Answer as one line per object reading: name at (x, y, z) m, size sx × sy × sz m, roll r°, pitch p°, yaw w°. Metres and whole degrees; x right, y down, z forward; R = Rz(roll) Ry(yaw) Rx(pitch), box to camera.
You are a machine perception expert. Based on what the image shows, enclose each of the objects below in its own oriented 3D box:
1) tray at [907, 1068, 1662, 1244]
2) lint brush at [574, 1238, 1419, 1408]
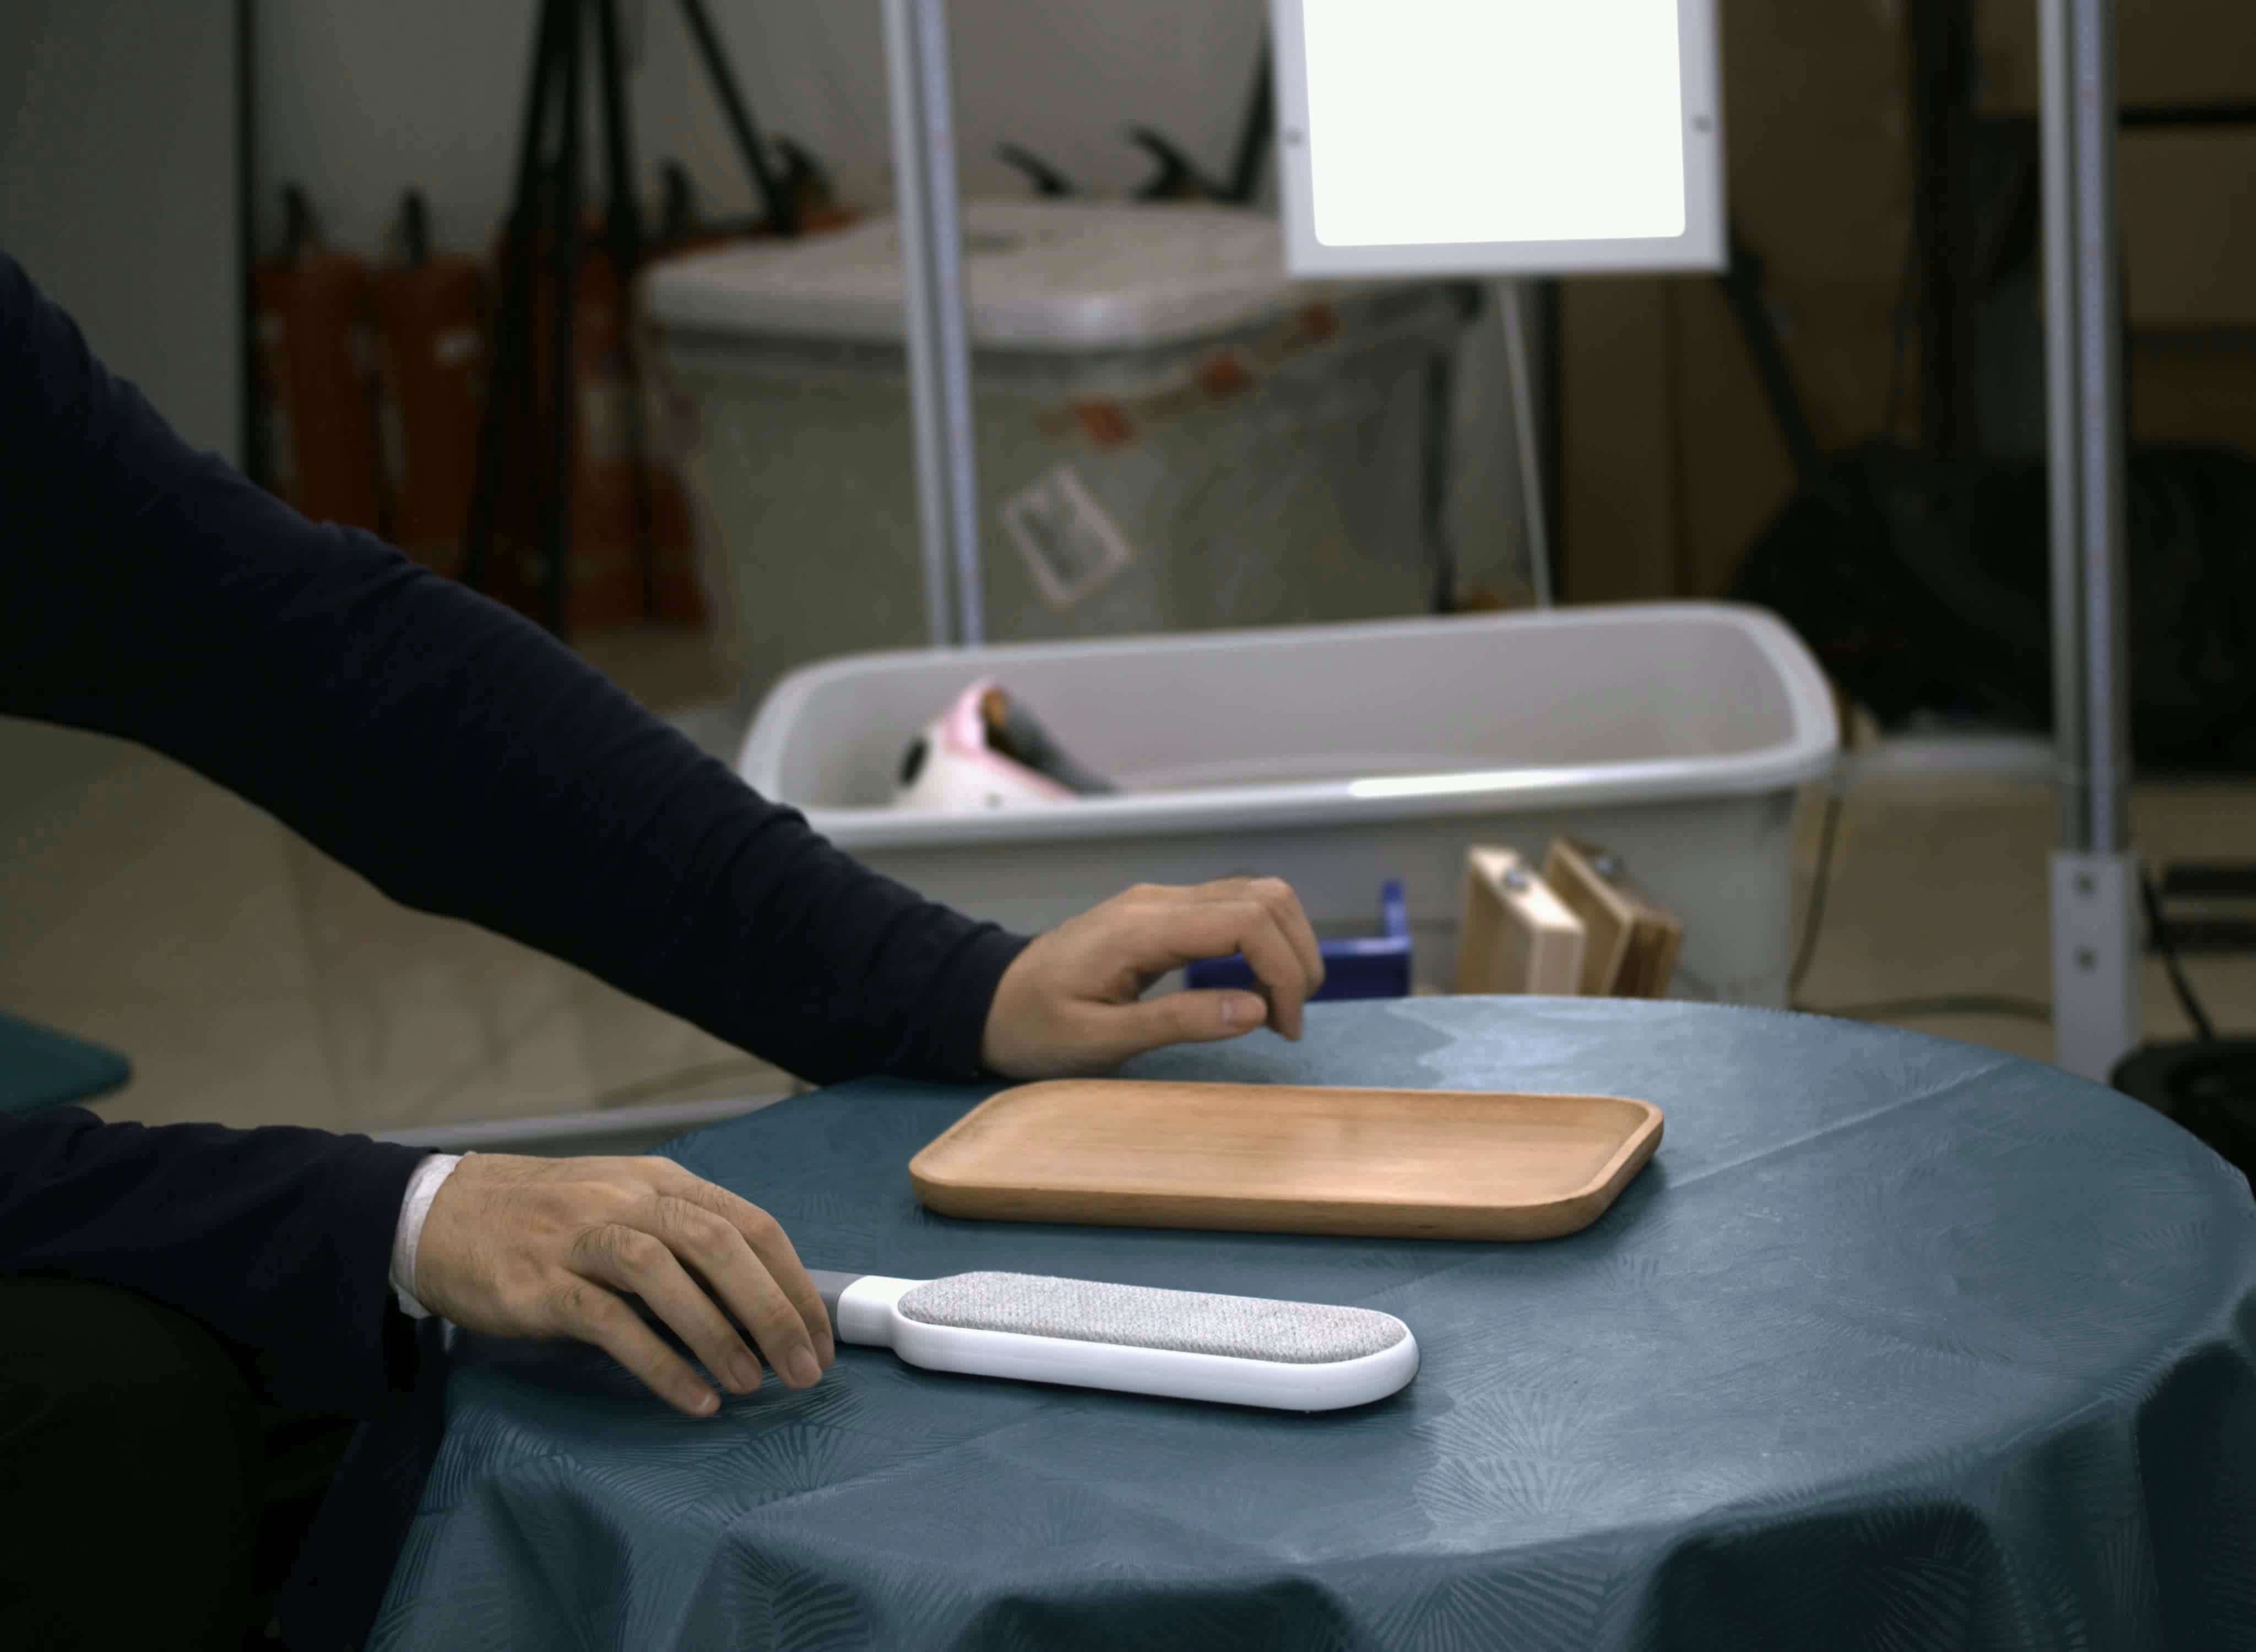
tray at (0.054, 0.113, 1.902) m, size 0.255 × 0.023 × 0.128 m, roll 1°, pitch 13°, yaw 25°
lint brush at (-0.048, 0.154, 1.751) m, size 0.315 × 0.021 × 0.059 m, roll 3°, pitch 21°, yaw 32°
